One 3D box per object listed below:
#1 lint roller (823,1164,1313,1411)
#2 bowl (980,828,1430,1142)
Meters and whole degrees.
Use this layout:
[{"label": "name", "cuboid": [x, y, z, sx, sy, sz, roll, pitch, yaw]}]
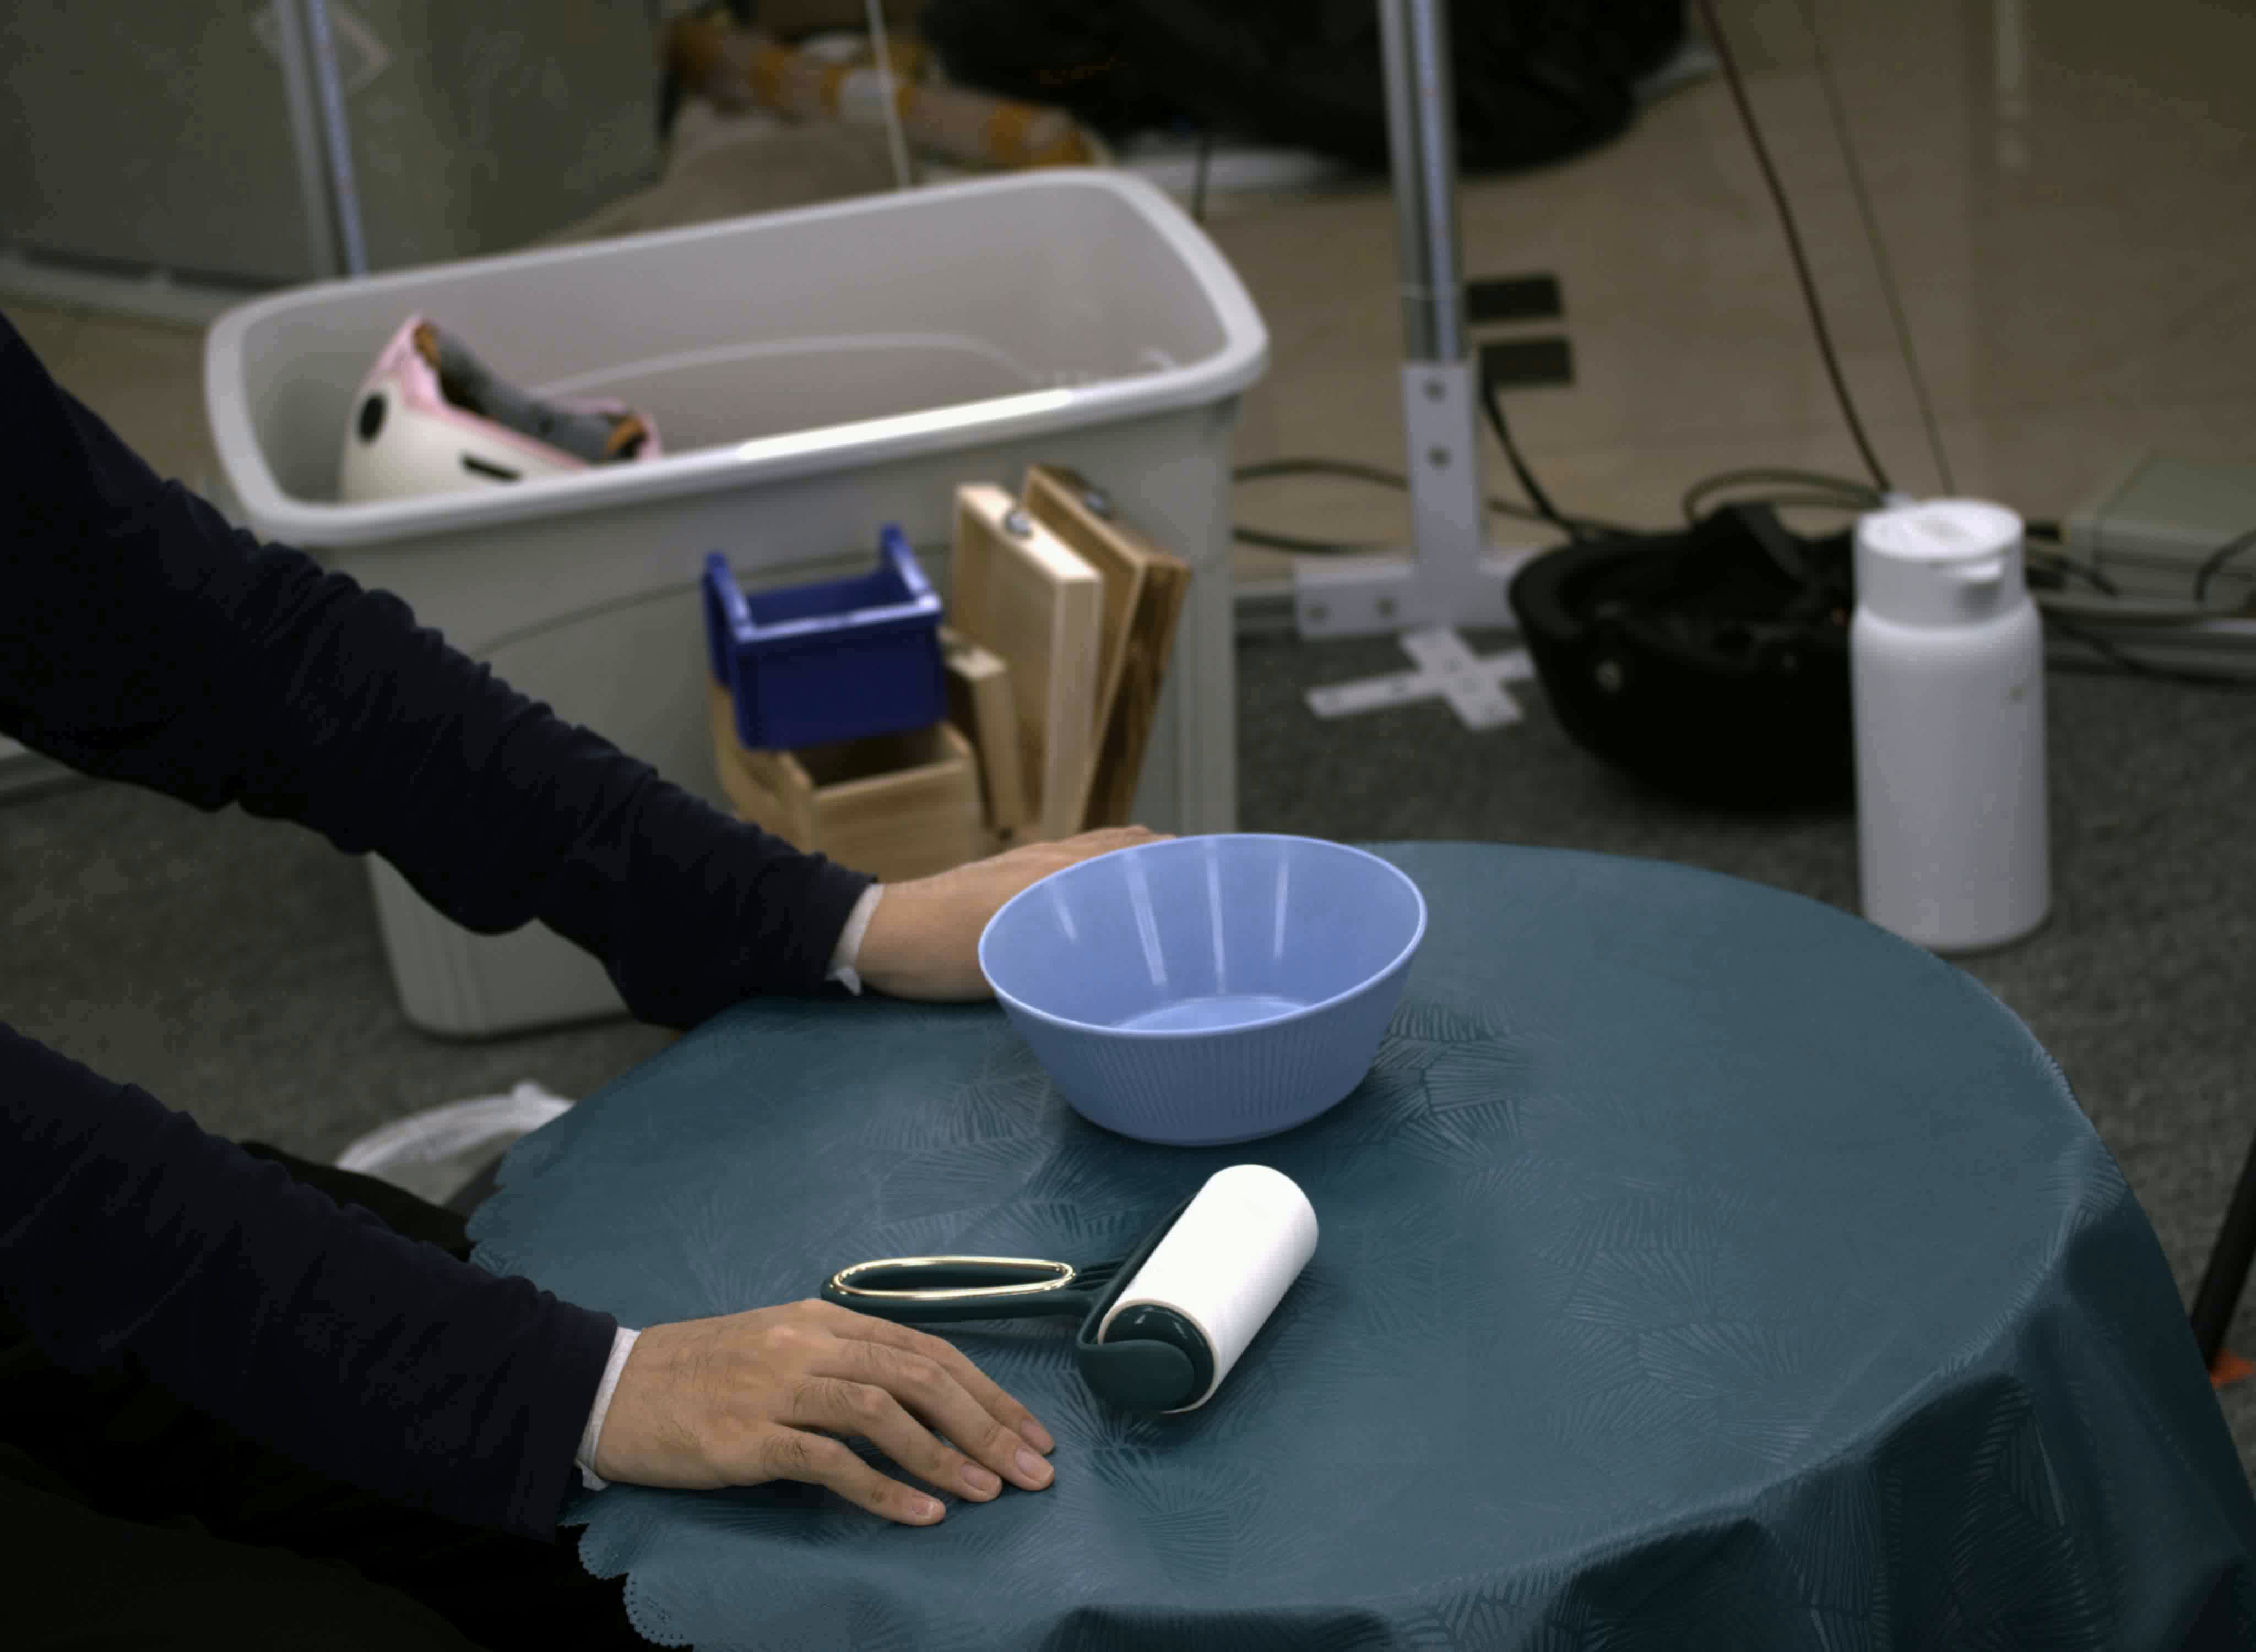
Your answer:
[{"label": "lint roller", "cuboid": [-0.032, 0.165, 2.057, 0.180, 0.049, 0.132, 0, 25, 24]}, {"label": "bowl", "cuboid": [0.033, 0.068, 2.210, 0.176, 0.071, 0.173, -6, 25, 3]}]
